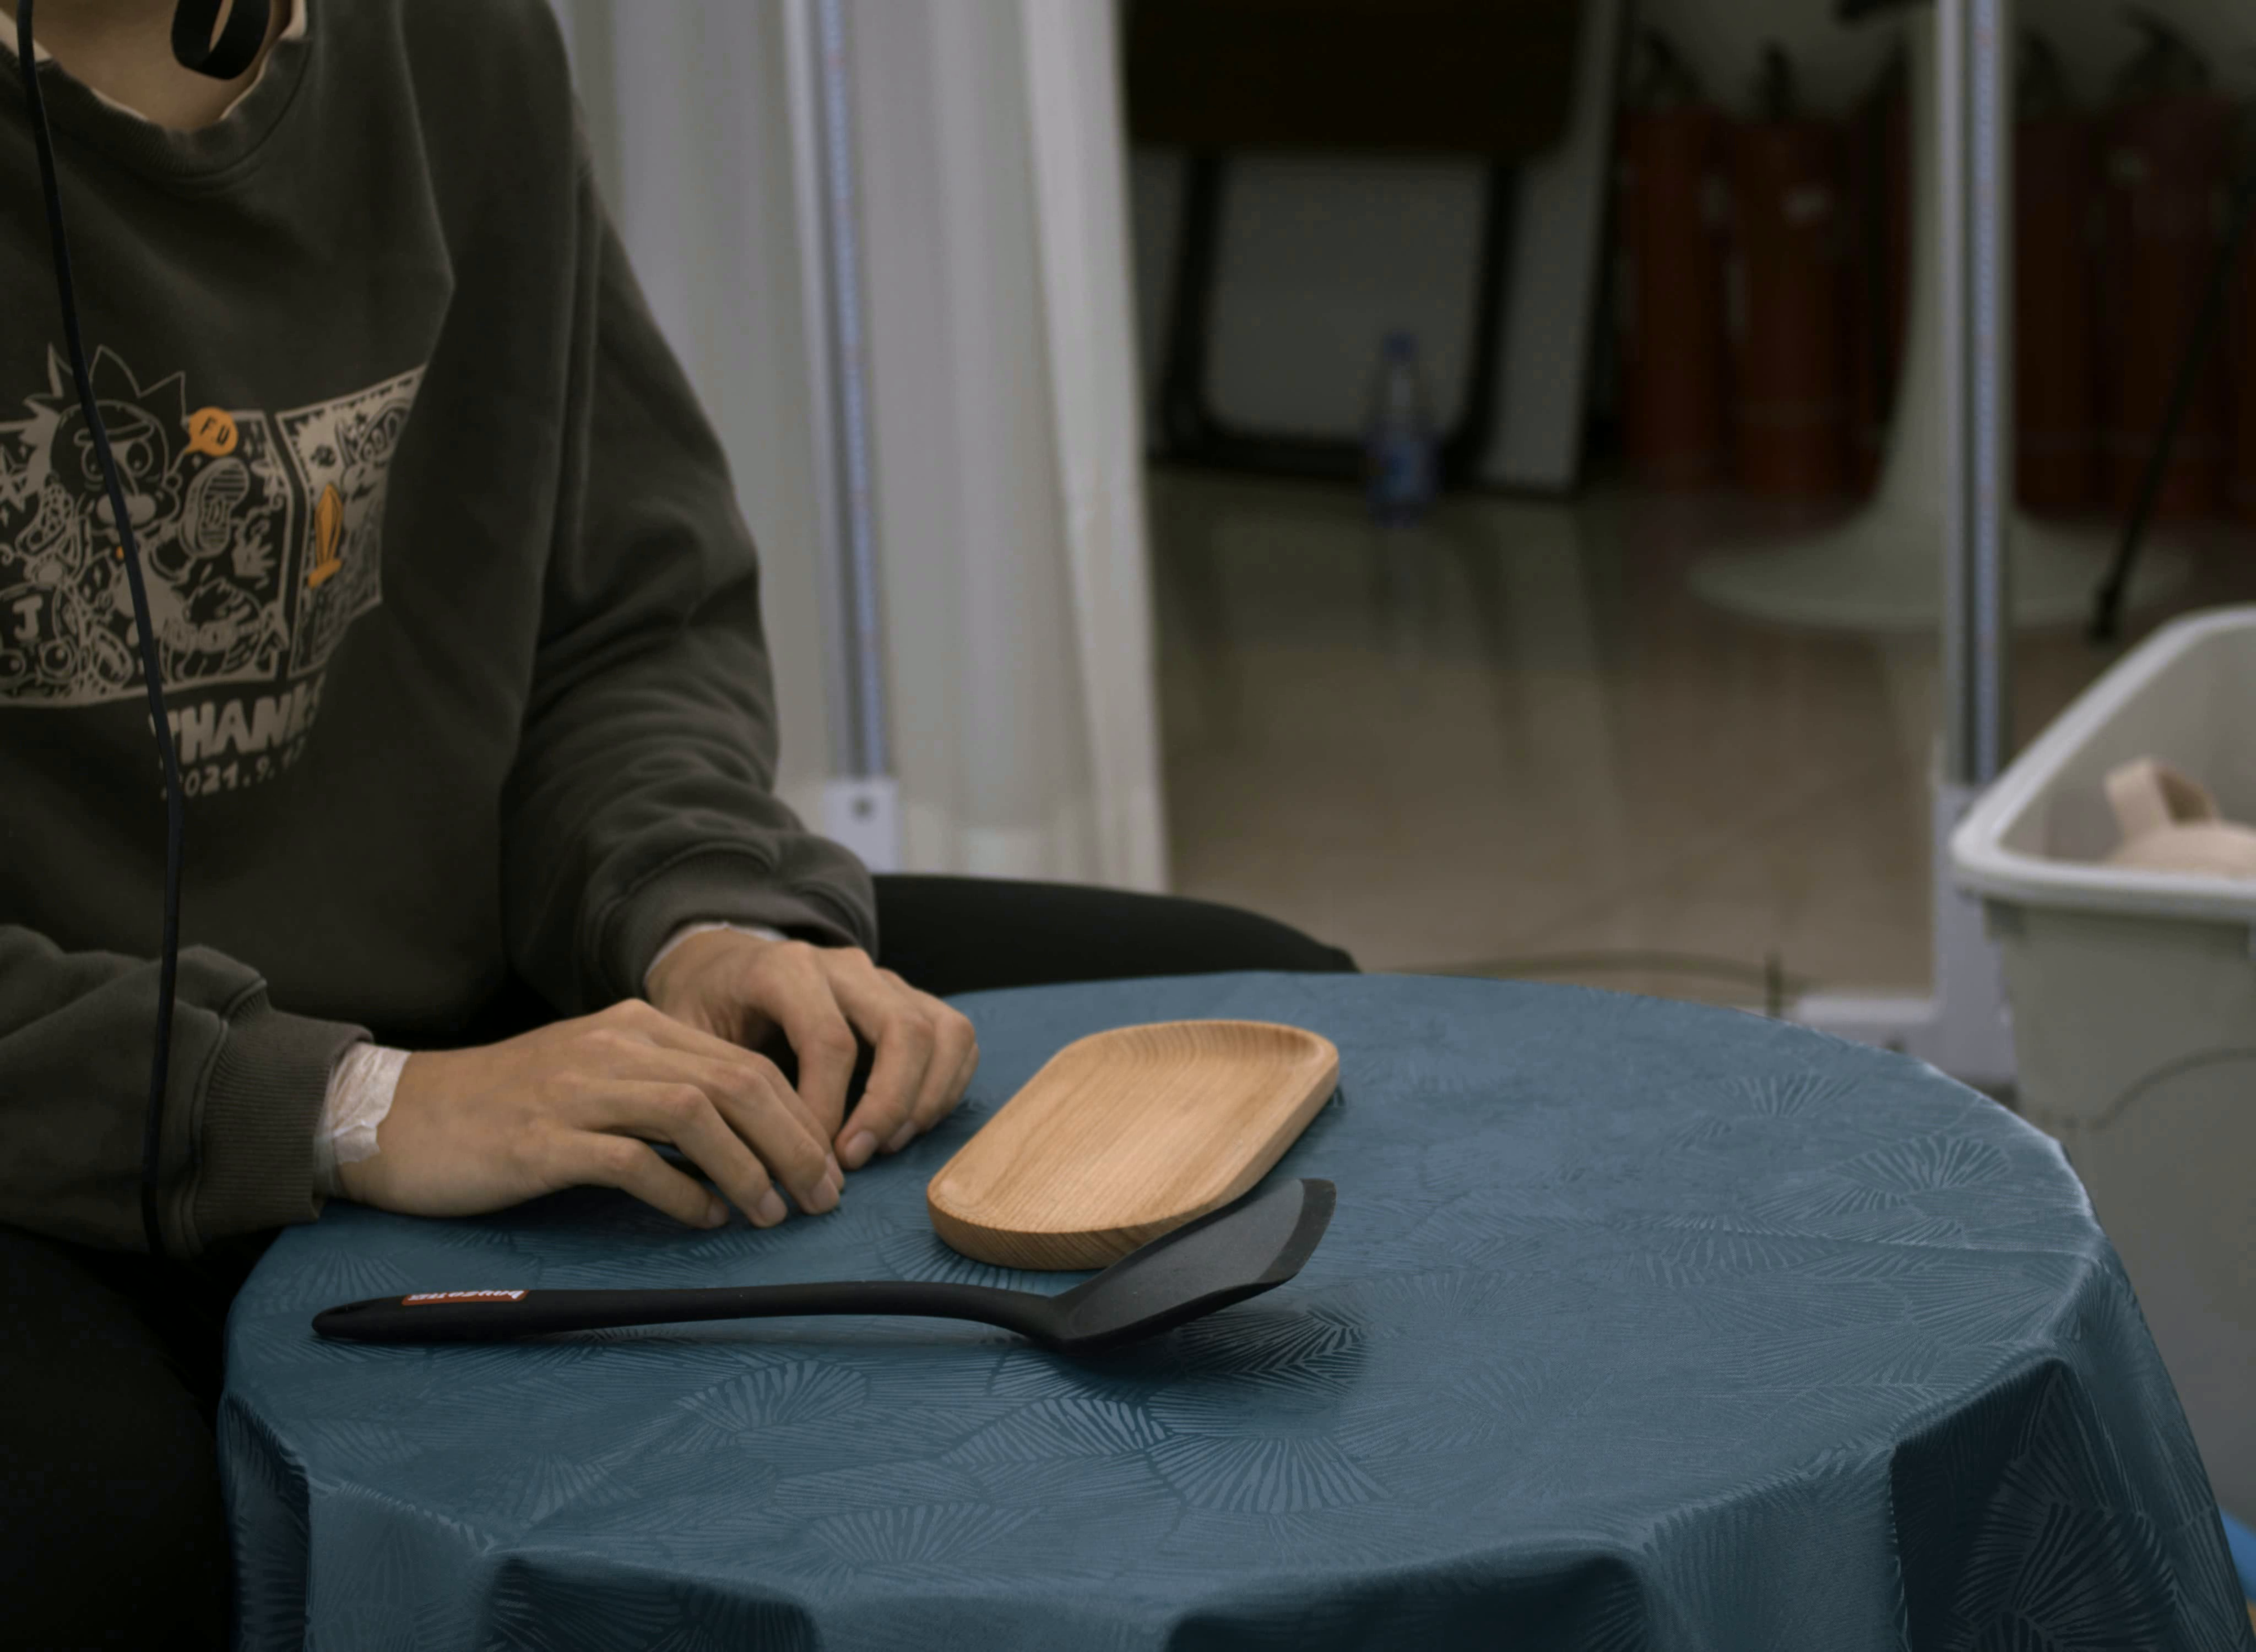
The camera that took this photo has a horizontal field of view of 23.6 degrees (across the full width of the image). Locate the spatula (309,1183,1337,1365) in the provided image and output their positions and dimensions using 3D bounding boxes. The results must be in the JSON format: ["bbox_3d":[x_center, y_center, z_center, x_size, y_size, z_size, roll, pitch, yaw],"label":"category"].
[{"bbox_3d":[-0.096,0.141,1.647,0.324,0.041,0.099,-1,12,12],"label":"spatula"}]

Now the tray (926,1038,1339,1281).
[{"bbox_3d":[0.004,0.109,1.796,0.101,0.020,0.229,0,15,18],"label":"tray"}]
